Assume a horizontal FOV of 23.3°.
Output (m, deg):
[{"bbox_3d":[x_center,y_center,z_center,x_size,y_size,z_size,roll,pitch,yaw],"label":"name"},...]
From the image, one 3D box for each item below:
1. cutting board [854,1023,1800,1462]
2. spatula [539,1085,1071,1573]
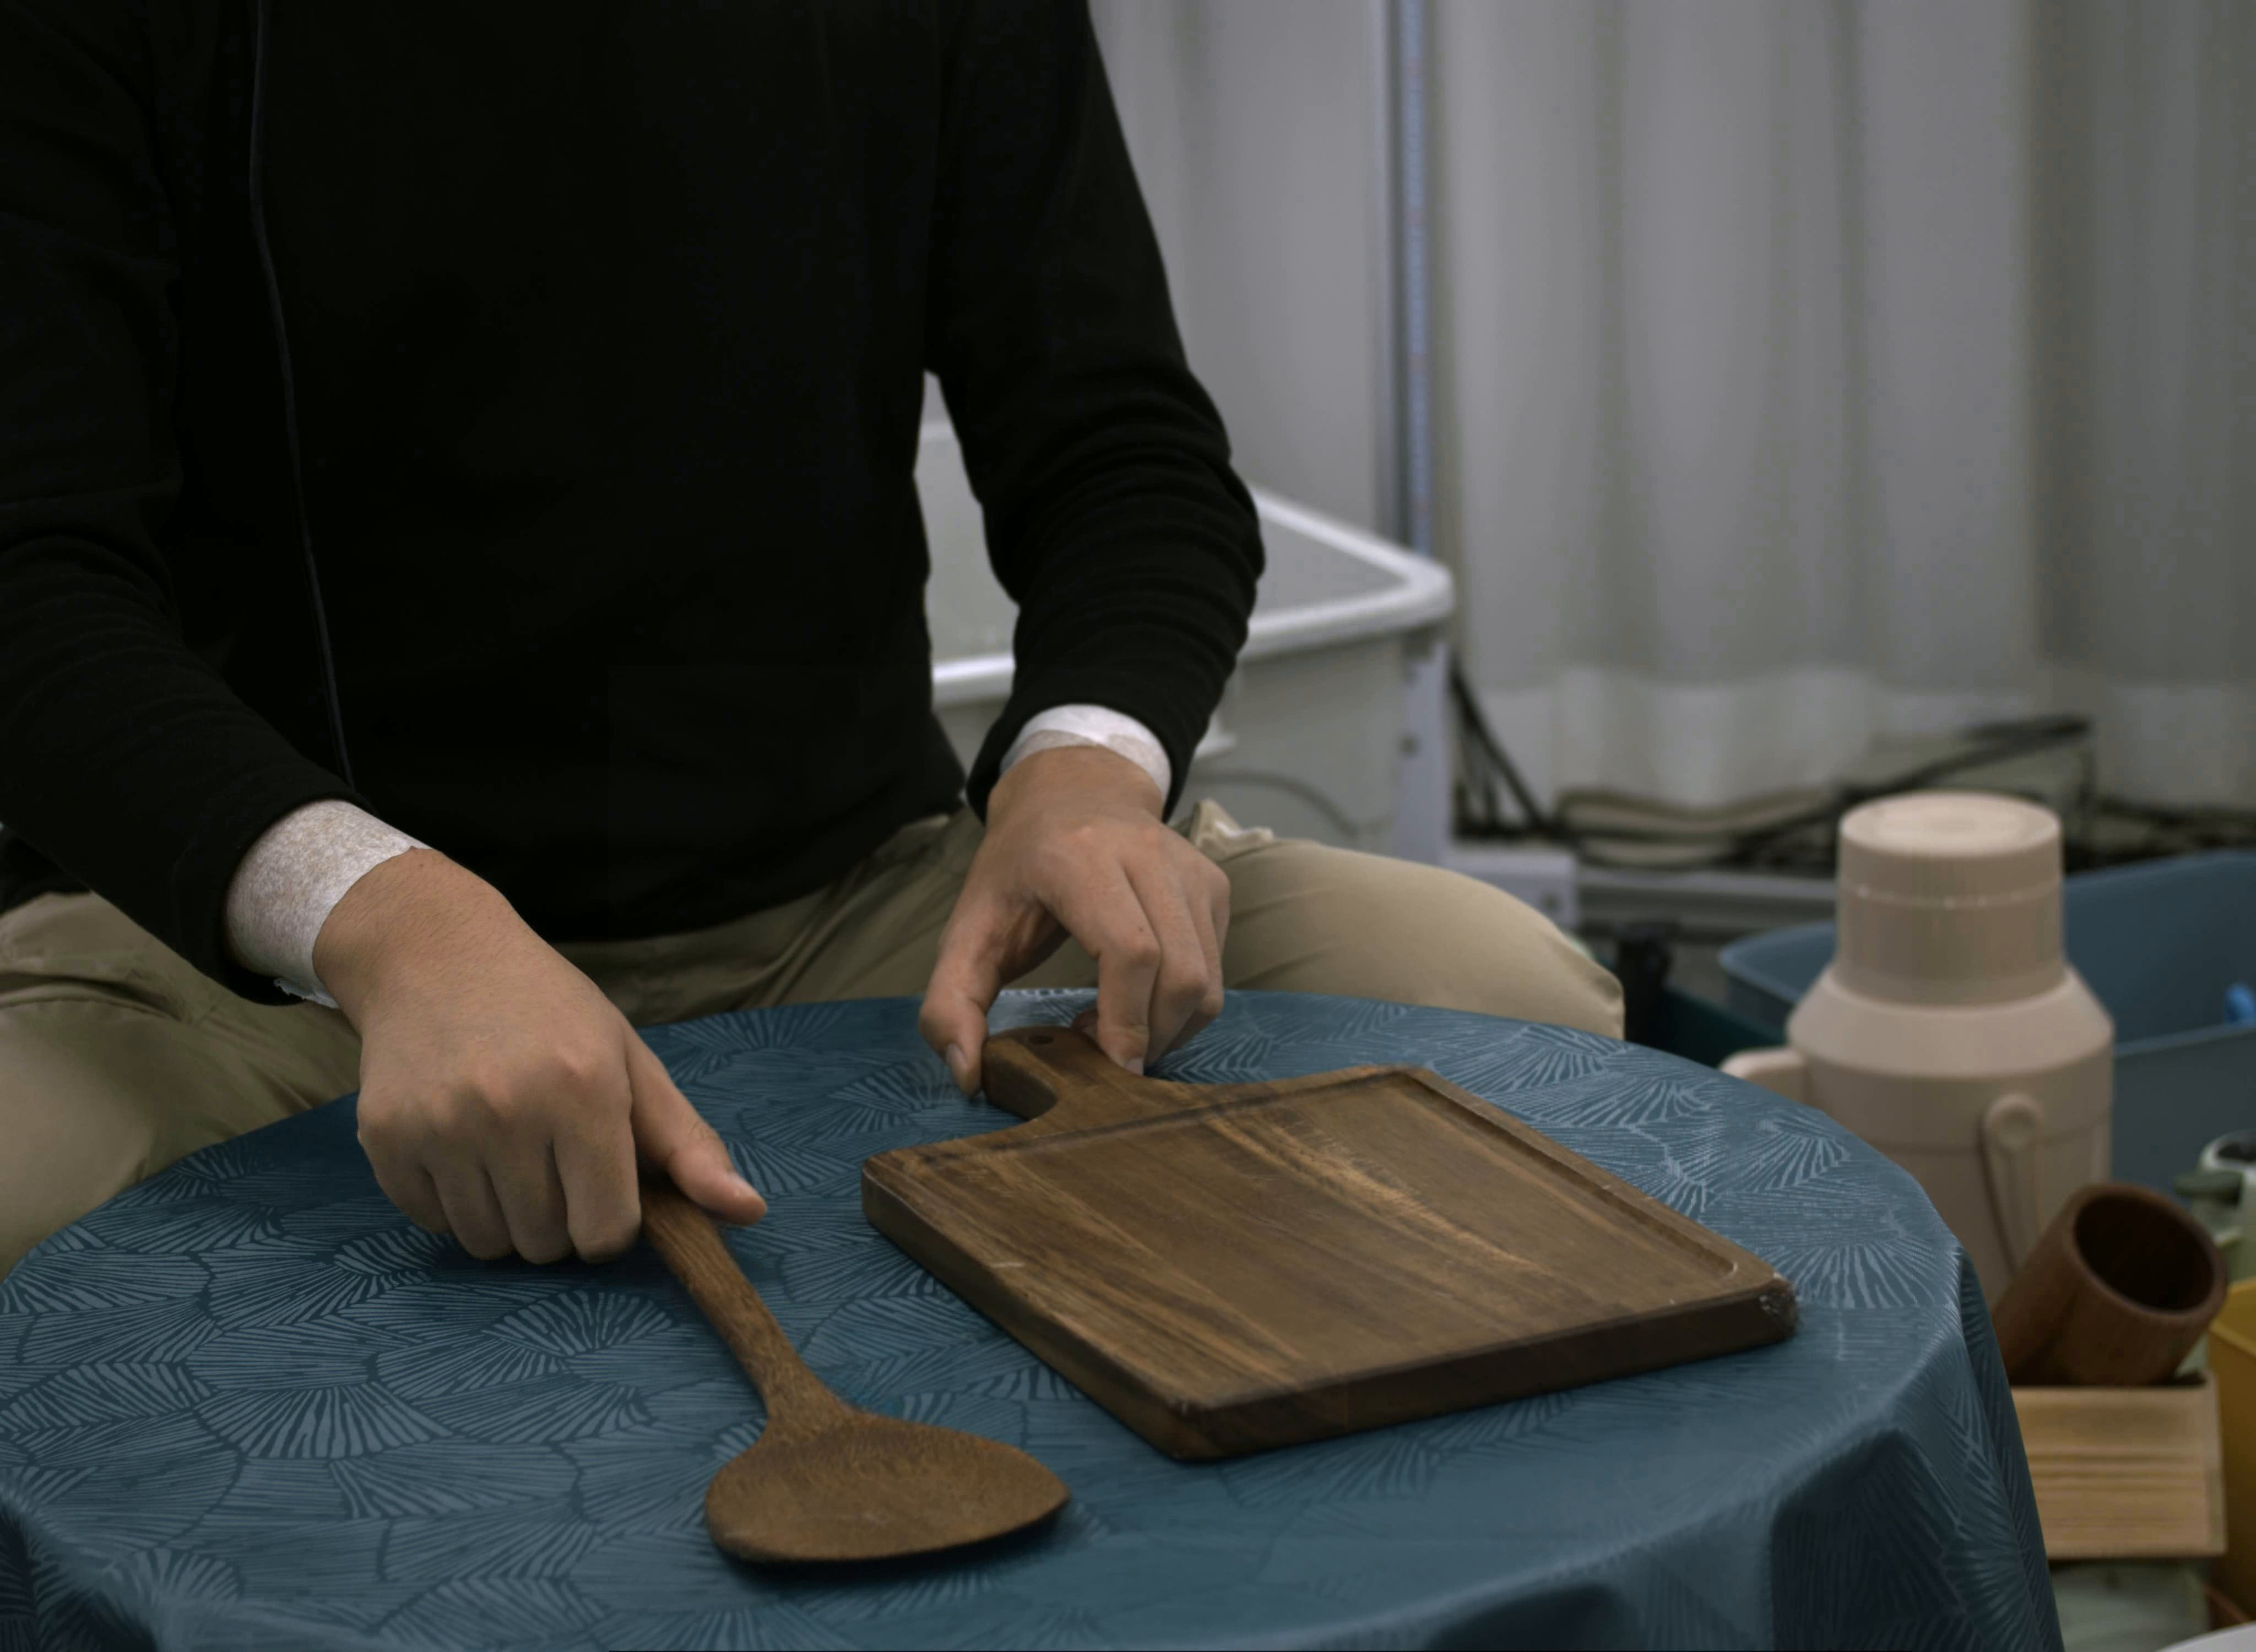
[{"bbox_3d":[0.033,0.113,1.671,0.200,0.023,0.355,-9,16,-23],"label":"cutting board"},{"bbox_3d":[-0.116,0.138,1.593,0.095,0.016,0.389,-7,19,-18],"label":"spatula"}]
